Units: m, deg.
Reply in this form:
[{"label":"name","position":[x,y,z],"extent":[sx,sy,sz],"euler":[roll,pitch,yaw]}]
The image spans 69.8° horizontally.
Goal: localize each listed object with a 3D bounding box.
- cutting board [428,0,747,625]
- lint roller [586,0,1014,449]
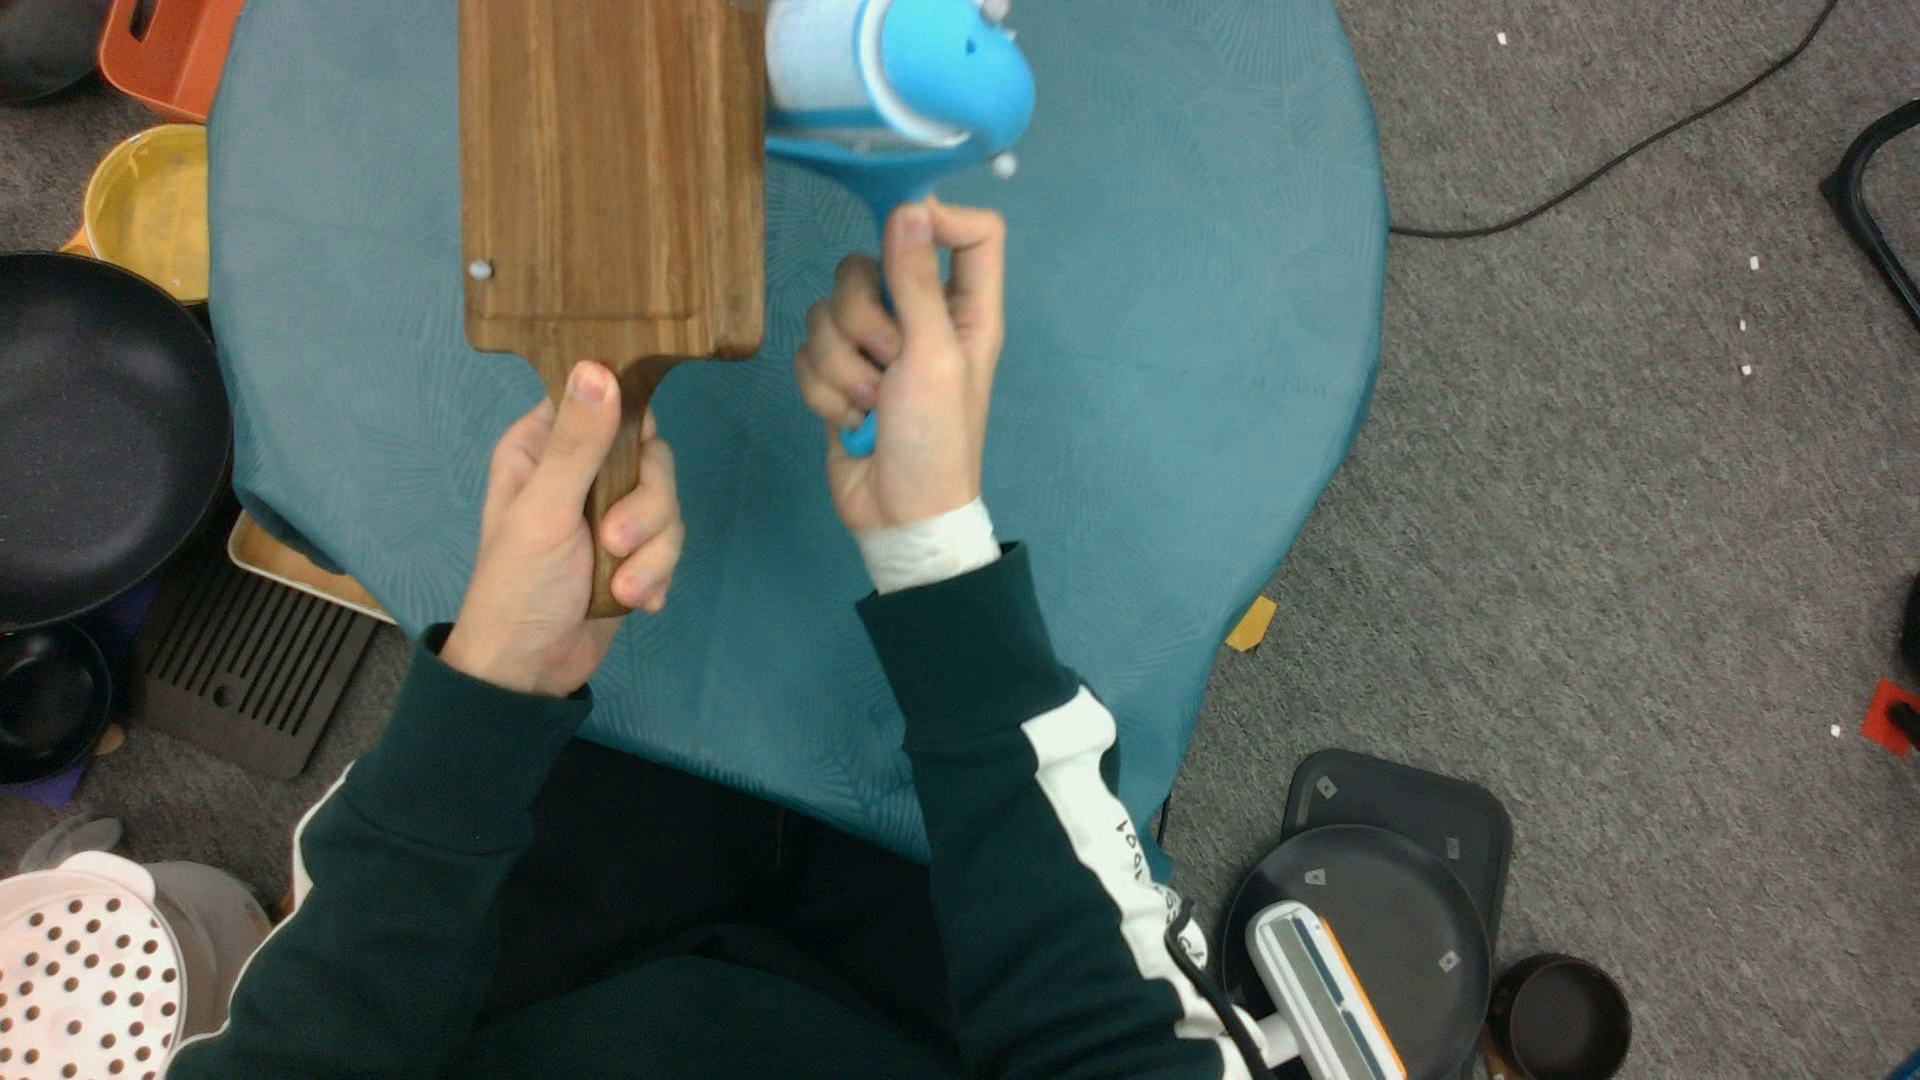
[{"label":"cutting board","position":[-0.145,-0.143,0.510],"extent":[0.023,0.200,0.351],"euler":[-7,99,-43]},{"label":"lint roller","position":[-0.055,-0.127,0.517],"extent":[0.068,0.229,0.179],"euler":[-35,125,-27]}]
